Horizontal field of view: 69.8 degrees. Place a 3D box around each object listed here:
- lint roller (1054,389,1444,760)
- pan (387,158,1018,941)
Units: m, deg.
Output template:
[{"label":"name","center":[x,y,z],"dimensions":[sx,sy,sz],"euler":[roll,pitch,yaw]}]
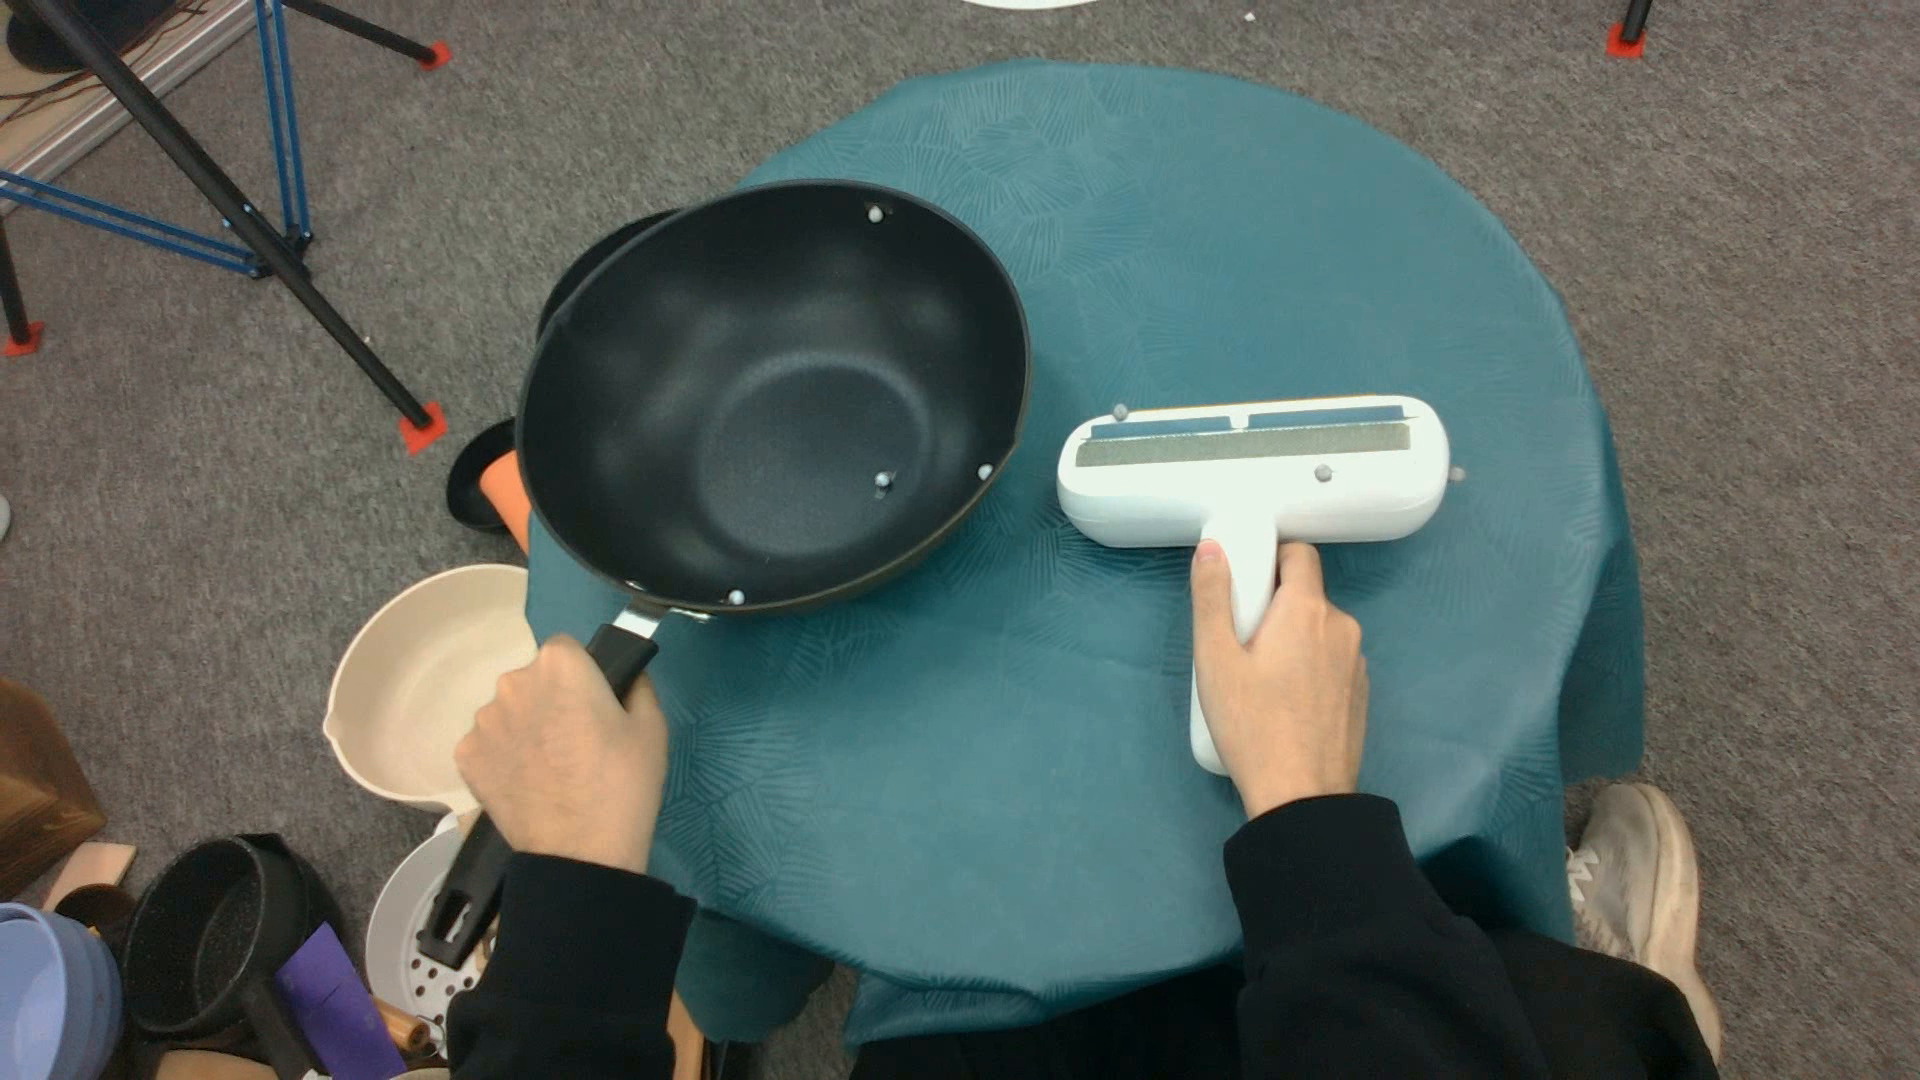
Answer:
[{"label":"lint roller","center":[0.130,0.010,0.671],"dimensions":[0.192,0.074,0.193],"euler":[4,58,20]},{"label":"pan","center":[-0.140,-0.002,0.723],"dimensions":[0.288,0.086,0.465],"euler":[17,65,18]}]
